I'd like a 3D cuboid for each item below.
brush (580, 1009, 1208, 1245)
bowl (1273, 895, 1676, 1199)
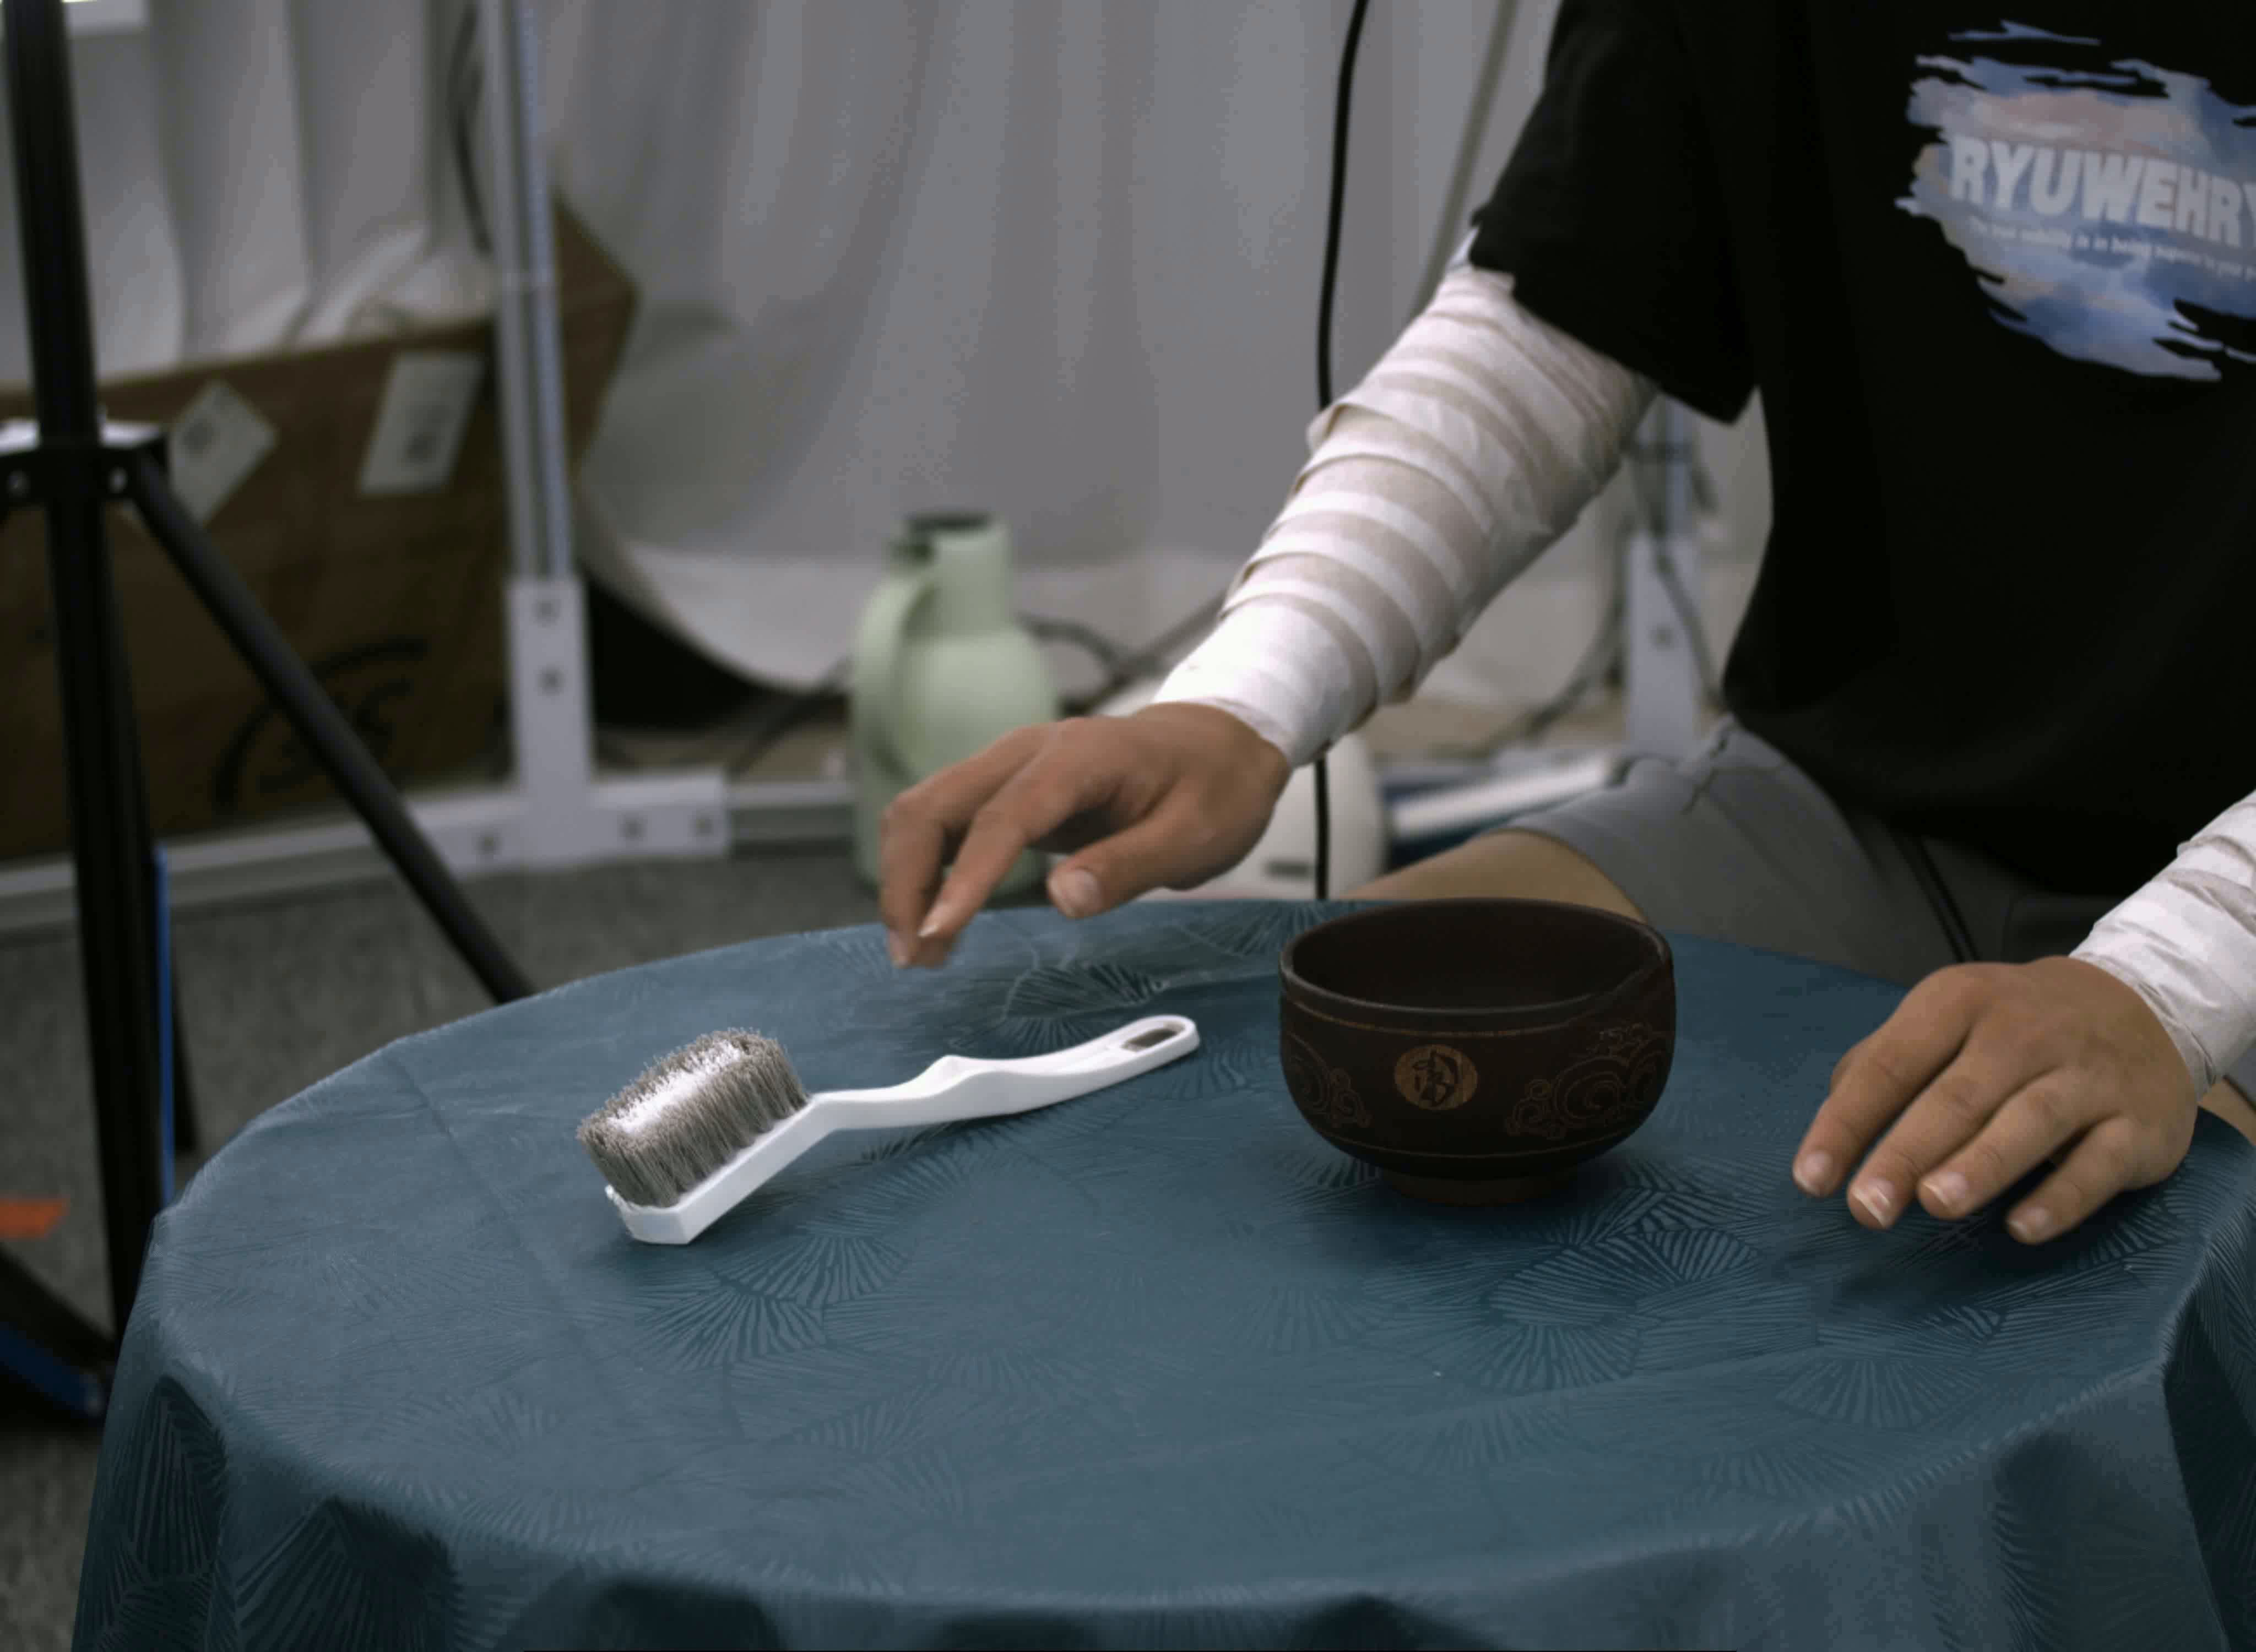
[{"bbox_3d":[-0.064,0.071,1.605,0.238,0.050,0.035,-18,23,-41],"label":"brush"},{"bbox_3d":[0.102,0.068,1.551,0.117,0.070,0.118,-2,13,-1],"label":"bowl"}]
